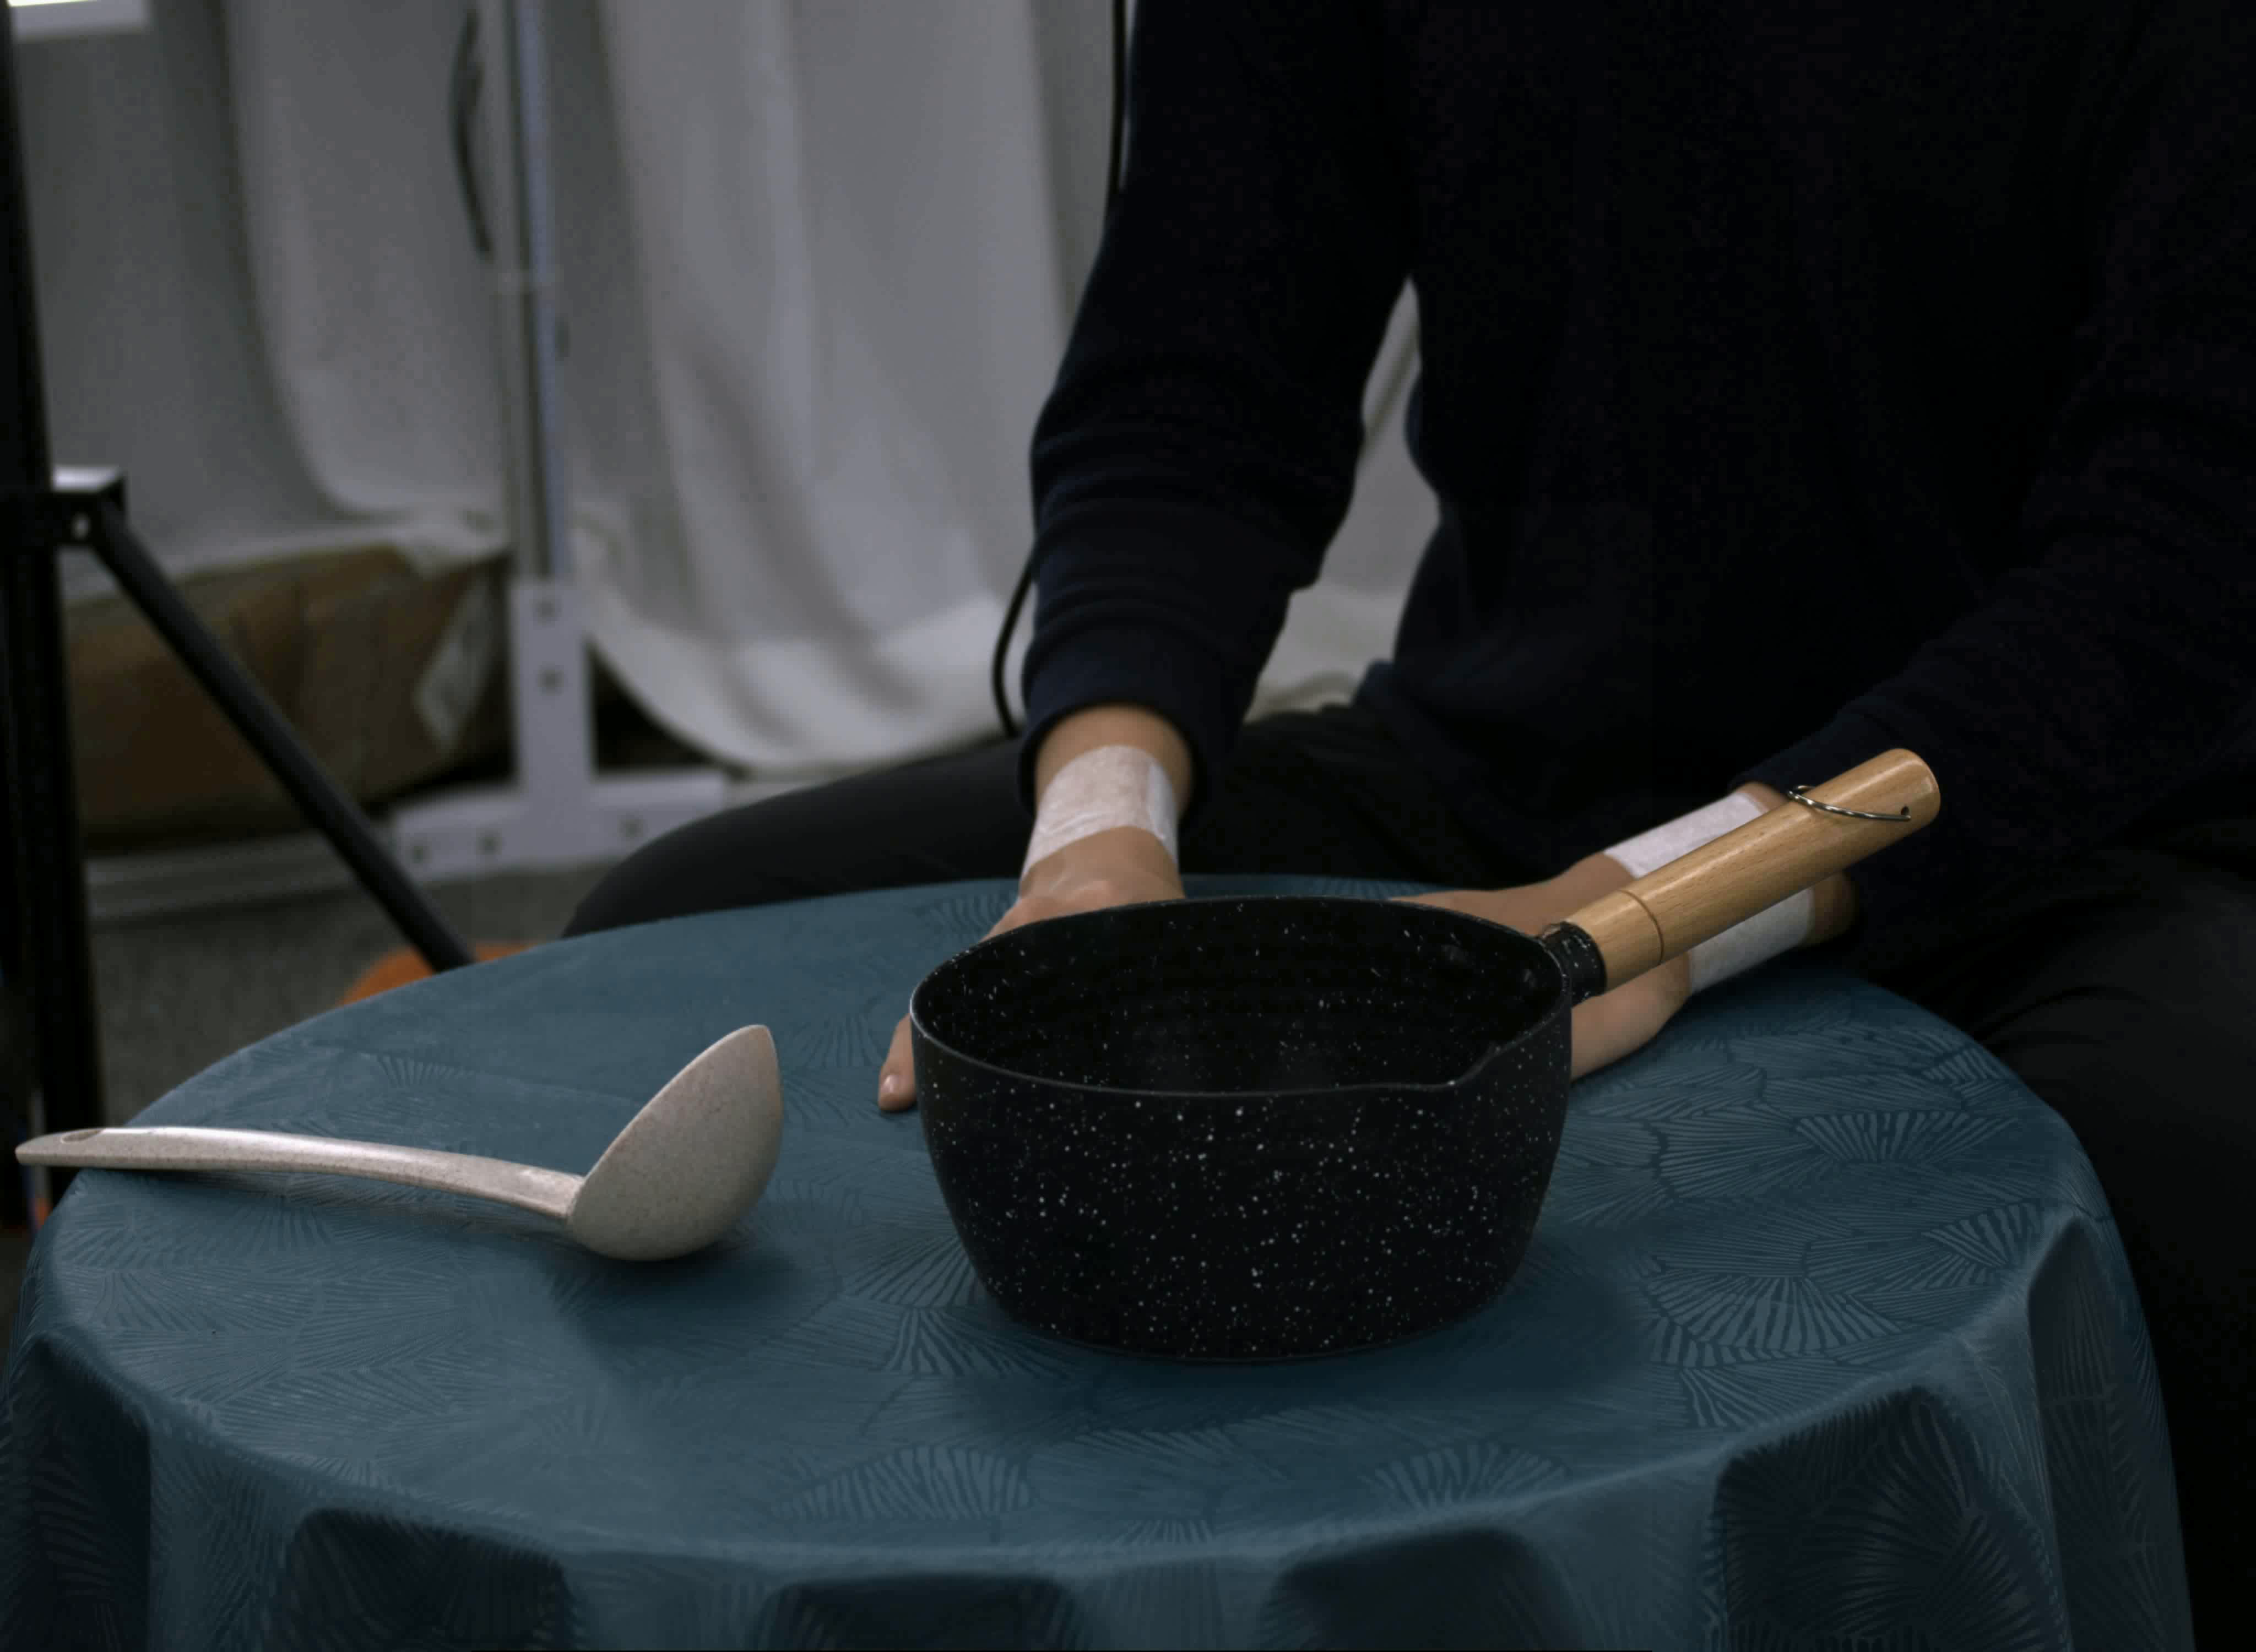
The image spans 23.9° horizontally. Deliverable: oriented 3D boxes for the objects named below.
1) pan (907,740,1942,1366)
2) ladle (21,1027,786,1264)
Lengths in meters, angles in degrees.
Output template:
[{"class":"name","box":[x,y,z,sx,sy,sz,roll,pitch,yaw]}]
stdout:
[{"class":"pan","box":[0.098,0.059,1.515,0.335,0.108,0.212,-14,18,-31]},{"class":"ladle","box":[-0.223,0.081,1.574,0.280,0.069,0.088,6,24,31]}]
